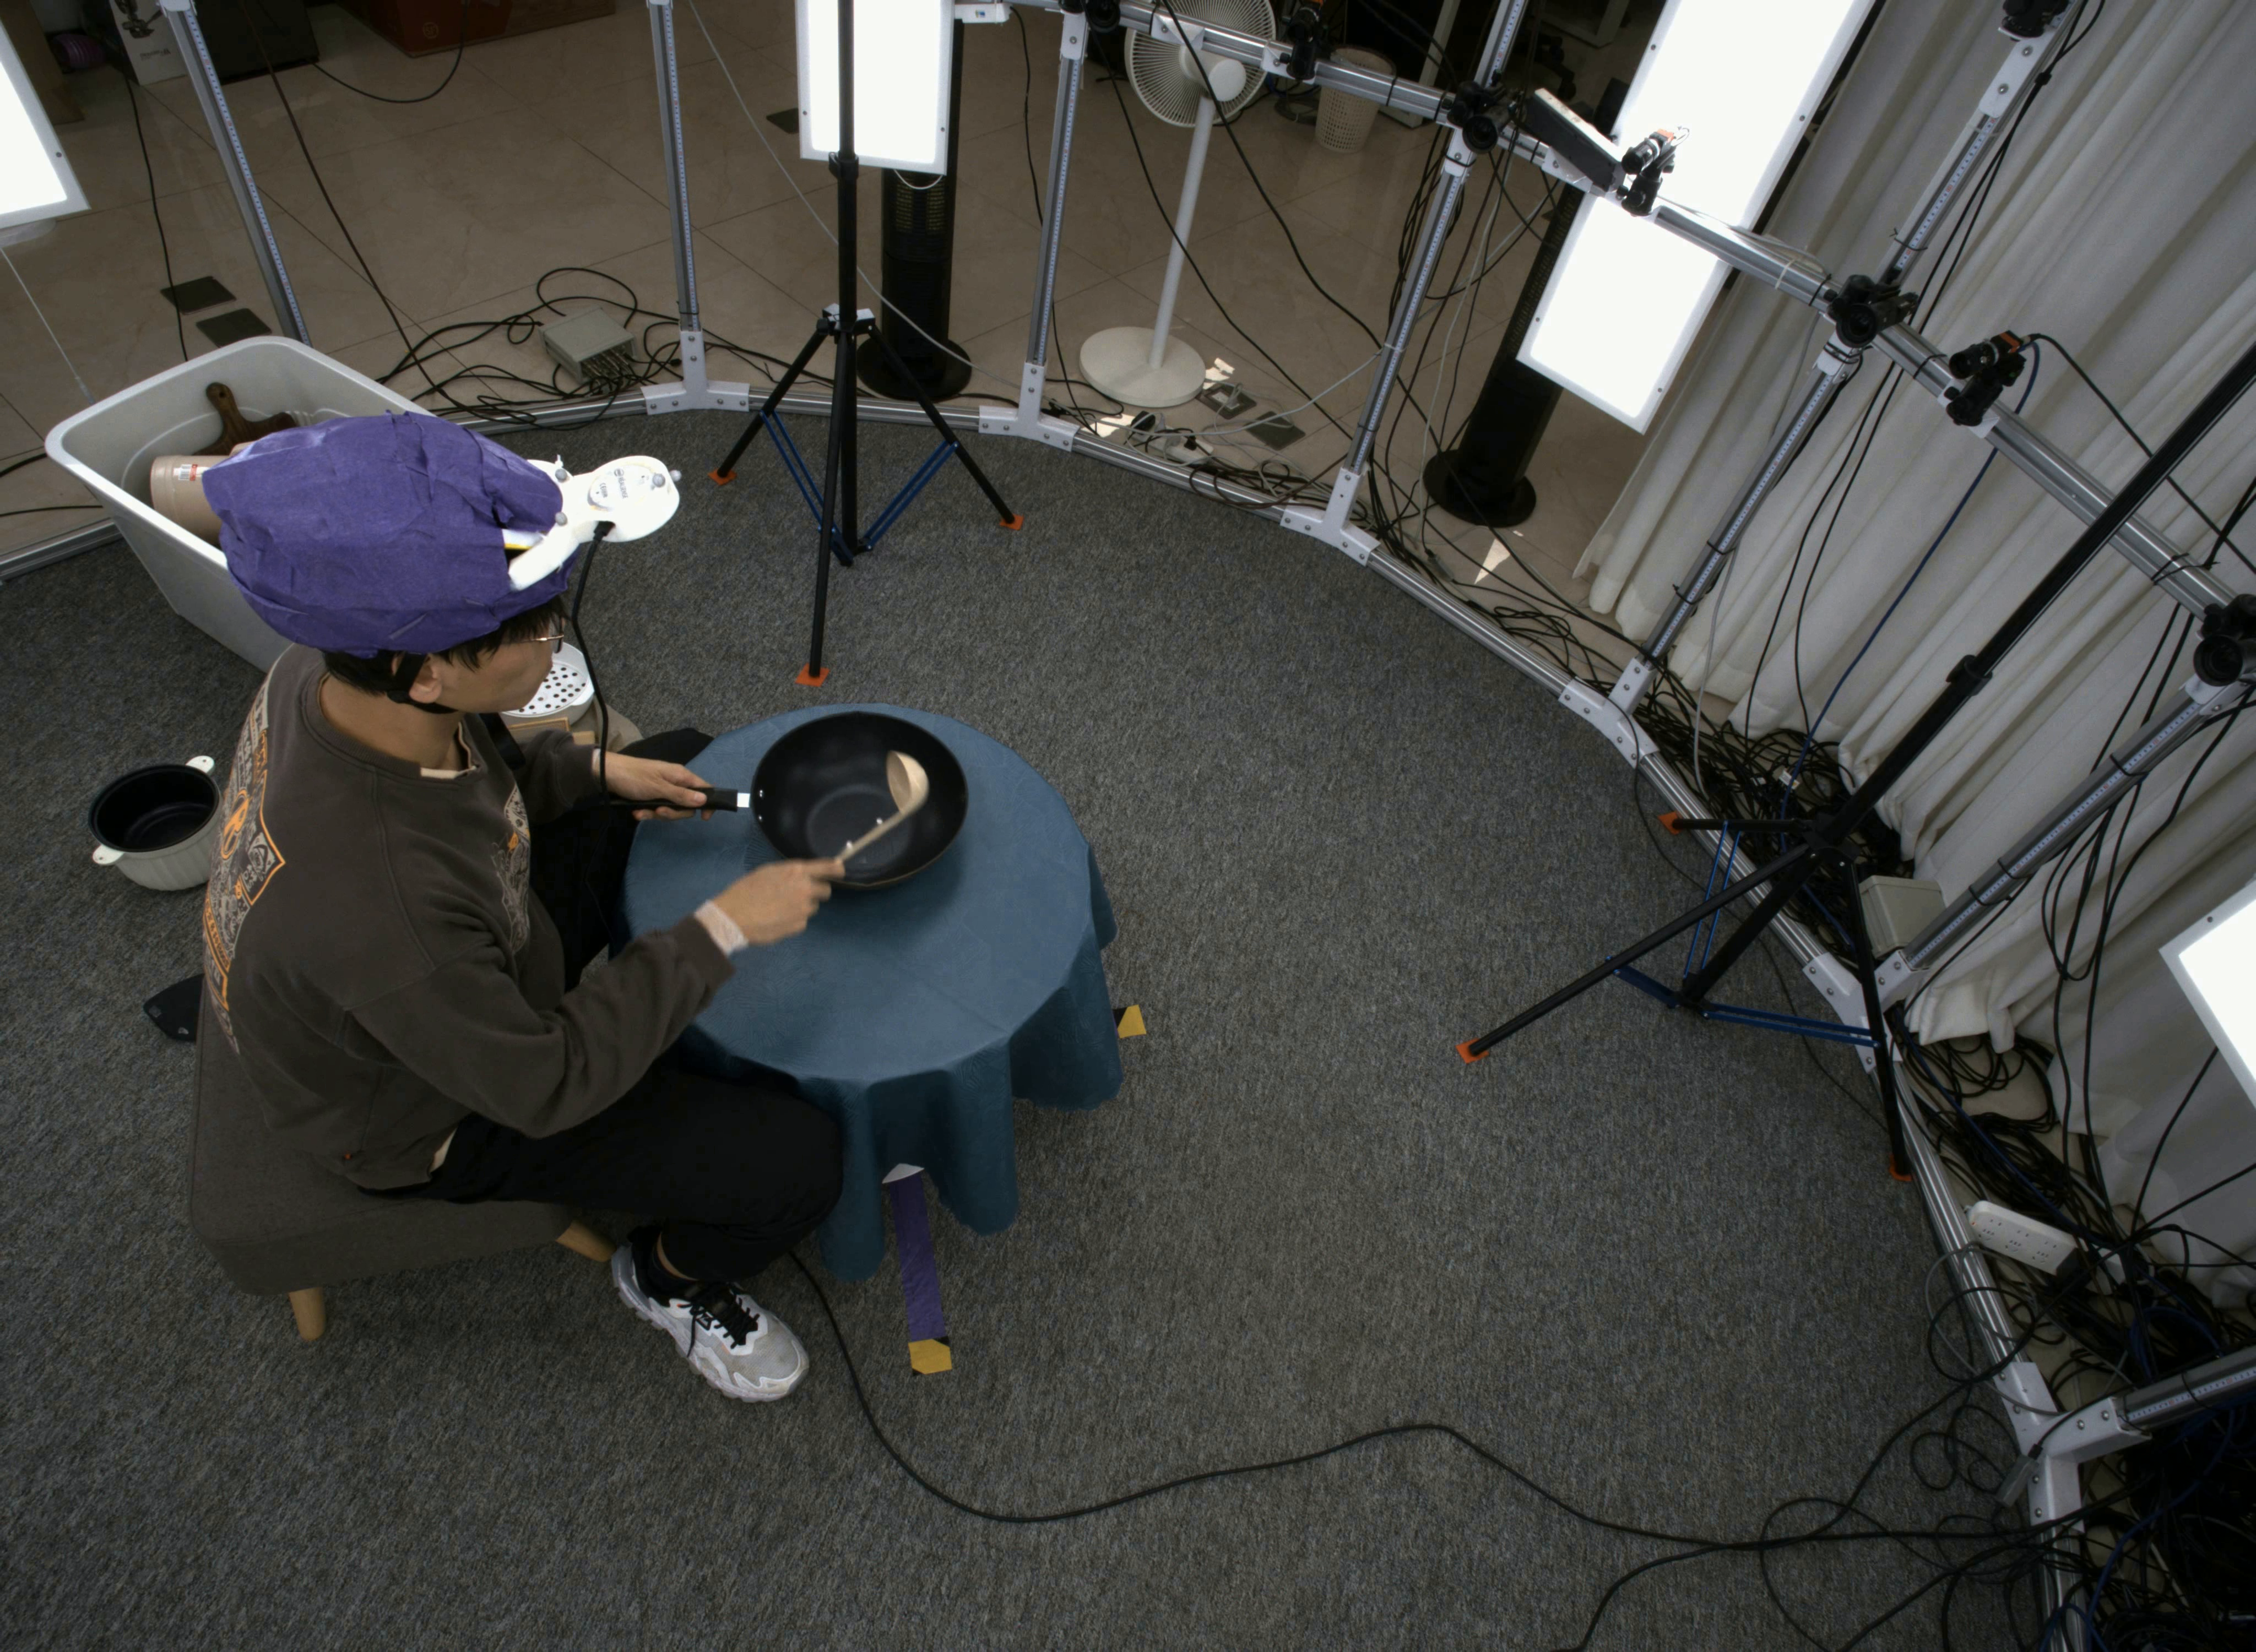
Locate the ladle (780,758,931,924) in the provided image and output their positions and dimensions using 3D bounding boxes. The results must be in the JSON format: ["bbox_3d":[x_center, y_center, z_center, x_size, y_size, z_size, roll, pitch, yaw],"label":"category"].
[{"bbox_3d":[-0.334,0.010,1.523,0.254,0.071,0.074,-41,98,-35],"label":"ladle"}]

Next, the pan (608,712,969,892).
[{"bbox_3d":[-0.439,-0.017,1.694,0.463,0.089,0.282,-2,55,-14],"label":"pan"}]
